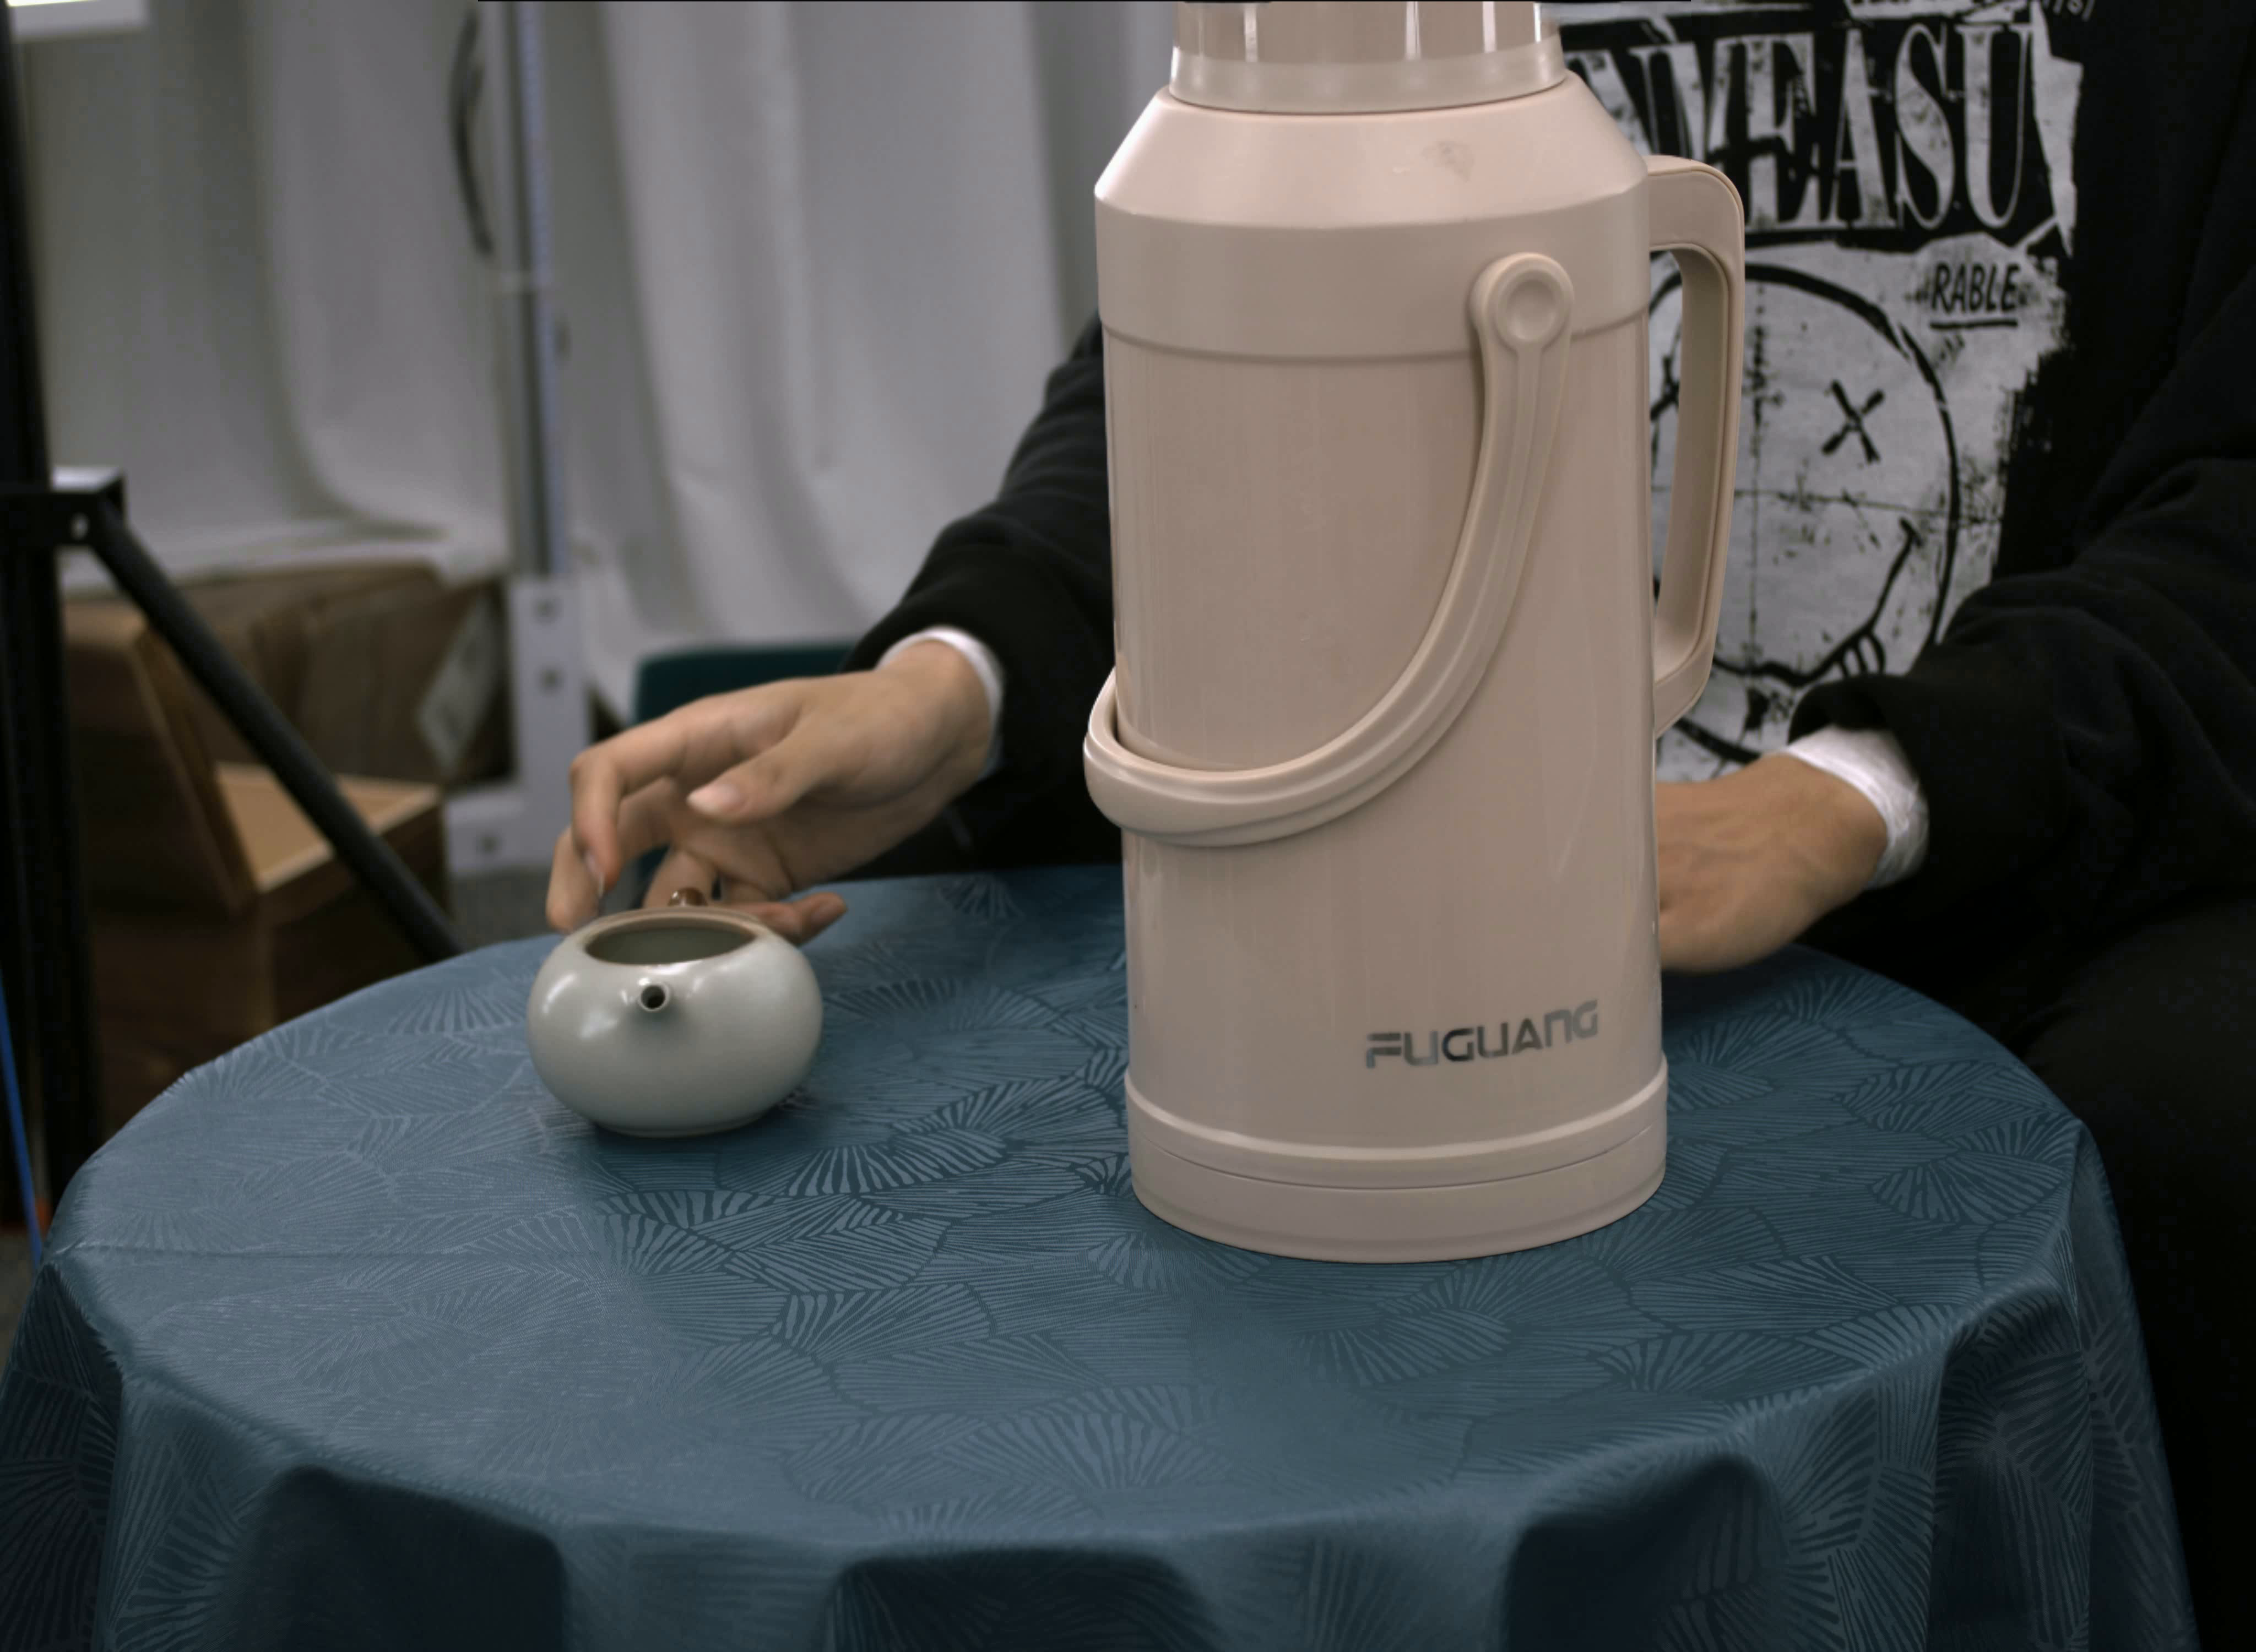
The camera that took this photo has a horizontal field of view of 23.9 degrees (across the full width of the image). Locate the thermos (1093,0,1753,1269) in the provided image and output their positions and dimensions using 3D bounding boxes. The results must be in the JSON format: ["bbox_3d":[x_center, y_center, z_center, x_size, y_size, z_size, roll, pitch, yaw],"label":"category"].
[{"bbox_3d":[0.088,-0.090,1.515,0.203,0.406,0.179,-10,15,-25],"label":"thermos"}]

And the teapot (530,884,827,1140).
[{"bbox_3d":[-0.138,0.057,1.650,0.091,0.059,0.128,-5,17,1],"label":"teapot"}]
